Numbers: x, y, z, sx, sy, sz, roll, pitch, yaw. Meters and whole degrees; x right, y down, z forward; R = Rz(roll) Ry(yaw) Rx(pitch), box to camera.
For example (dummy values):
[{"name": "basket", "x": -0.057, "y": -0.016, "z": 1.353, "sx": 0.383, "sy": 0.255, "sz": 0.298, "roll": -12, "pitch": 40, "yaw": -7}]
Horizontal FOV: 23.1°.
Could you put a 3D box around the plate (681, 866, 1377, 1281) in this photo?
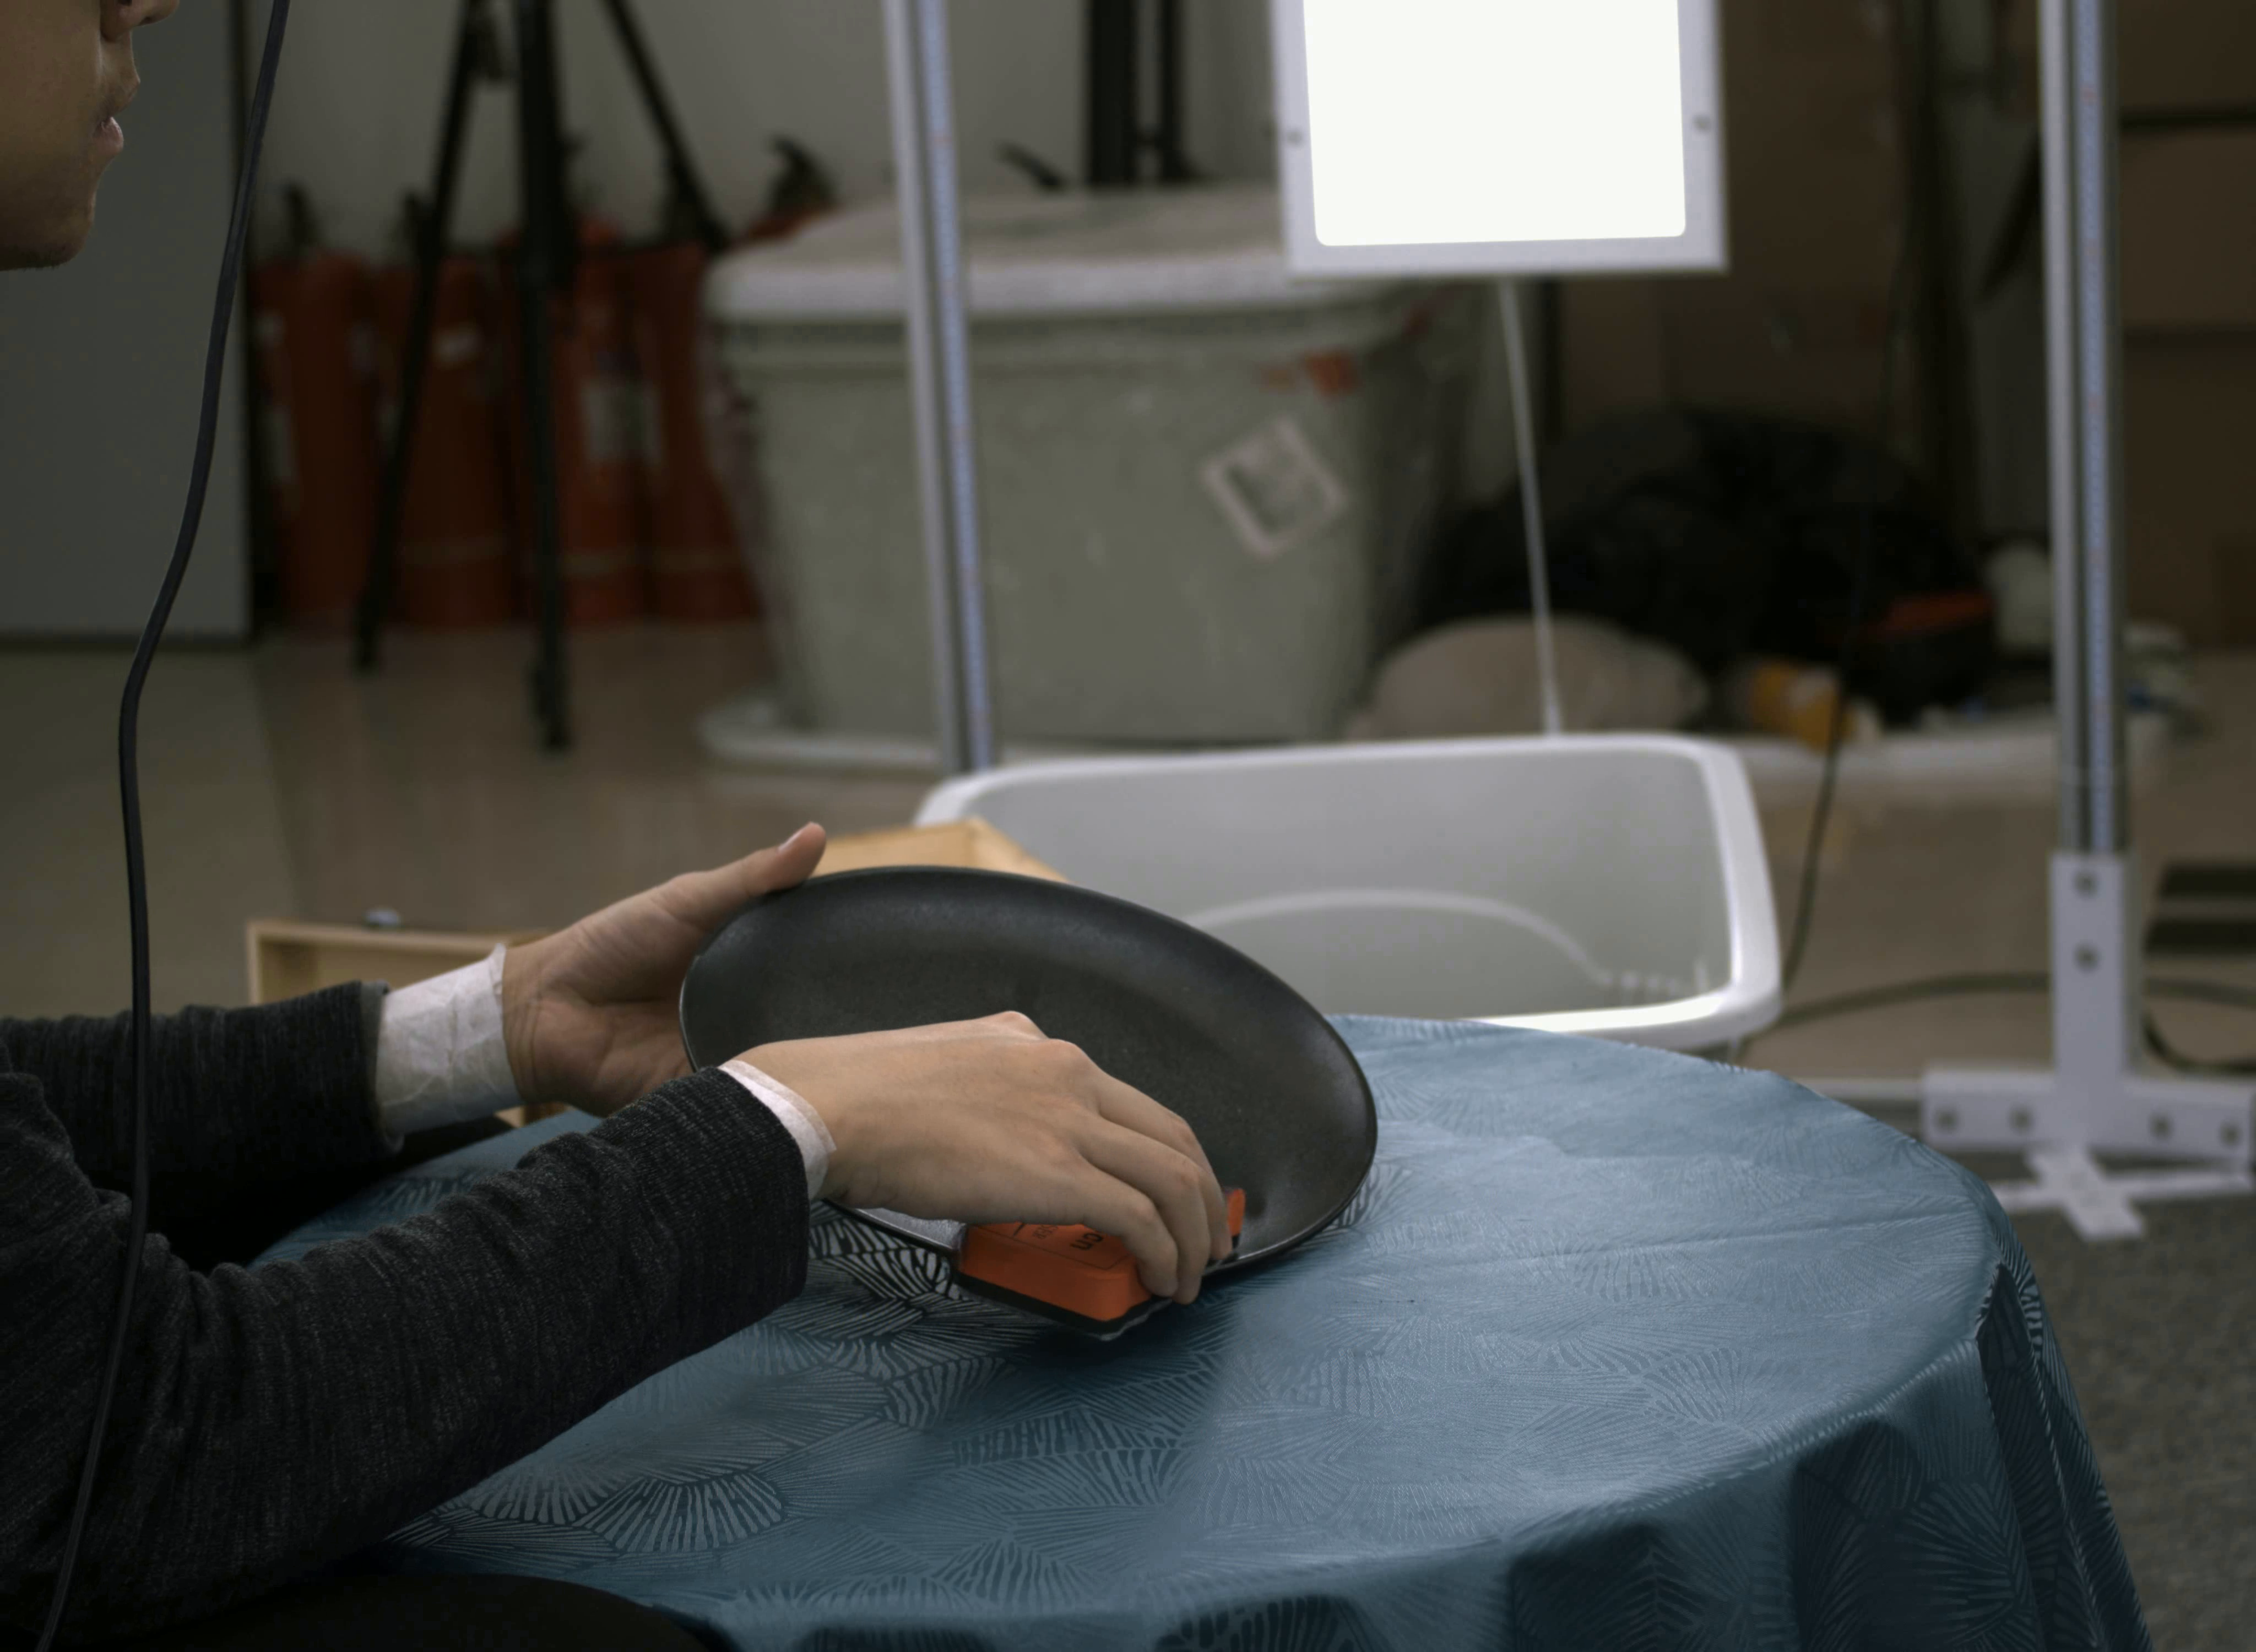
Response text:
[{"name": "plate", "x": -0.034, "y": 0.088, "z": 1.877, "sx": 0.242, "sy": 0.023, "sz": 0.244, "roll": 9, "pitch": 30, "yaw": -7}]

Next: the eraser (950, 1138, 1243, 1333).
[{"name": "eraser", "x": -0.009, "y": 0.131, "z": 1.772, "sx": 0.060, "sy": 0.023, "sz": 0.105, "roll": 16, "pitch": 20, "yaw": 24}]
